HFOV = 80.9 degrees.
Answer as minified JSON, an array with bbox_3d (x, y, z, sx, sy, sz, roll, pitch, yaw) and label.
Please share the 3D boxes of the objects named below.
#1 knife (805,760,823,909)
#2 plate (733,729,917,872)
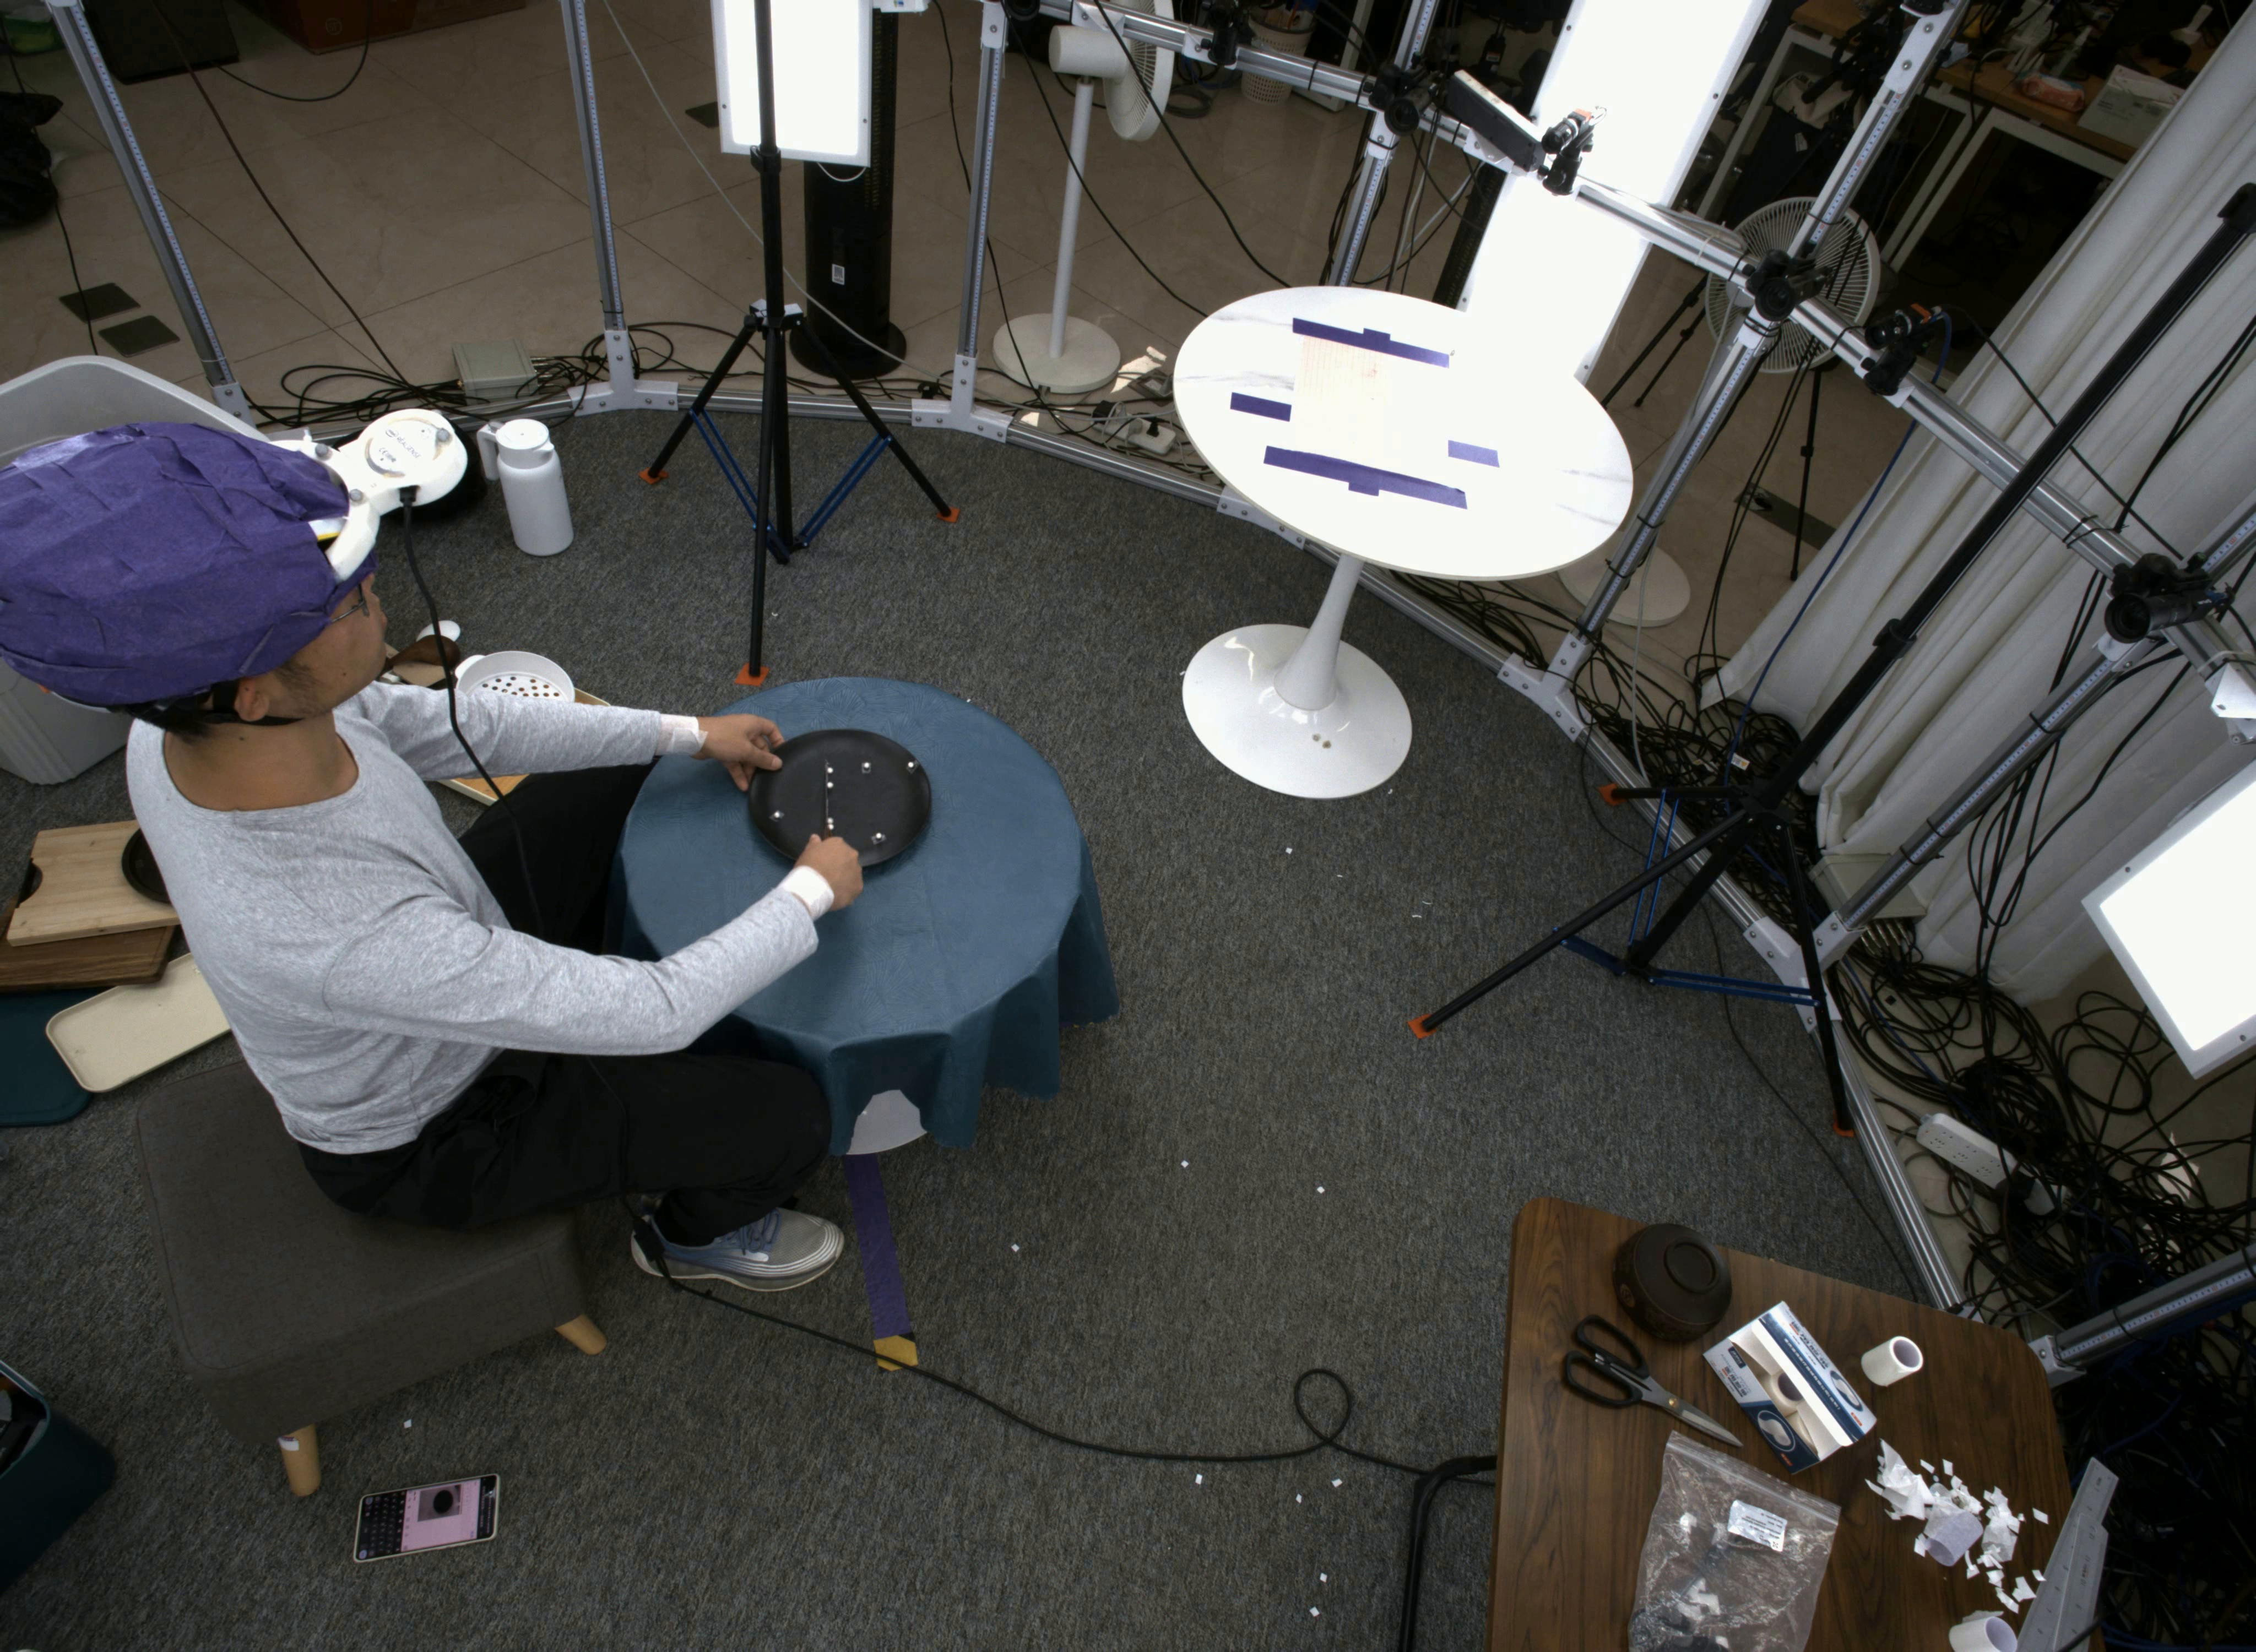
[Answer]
[{"bbox_3d":[-0.407,0.004,1.674,0.020,0.051,0.281,-1,41,-14],"label":"knife"},{"bbox_3d":[-0.407,-0.033,1.749,0.244,0.024,0.240,8,53,-9],"label":"plate"}]
